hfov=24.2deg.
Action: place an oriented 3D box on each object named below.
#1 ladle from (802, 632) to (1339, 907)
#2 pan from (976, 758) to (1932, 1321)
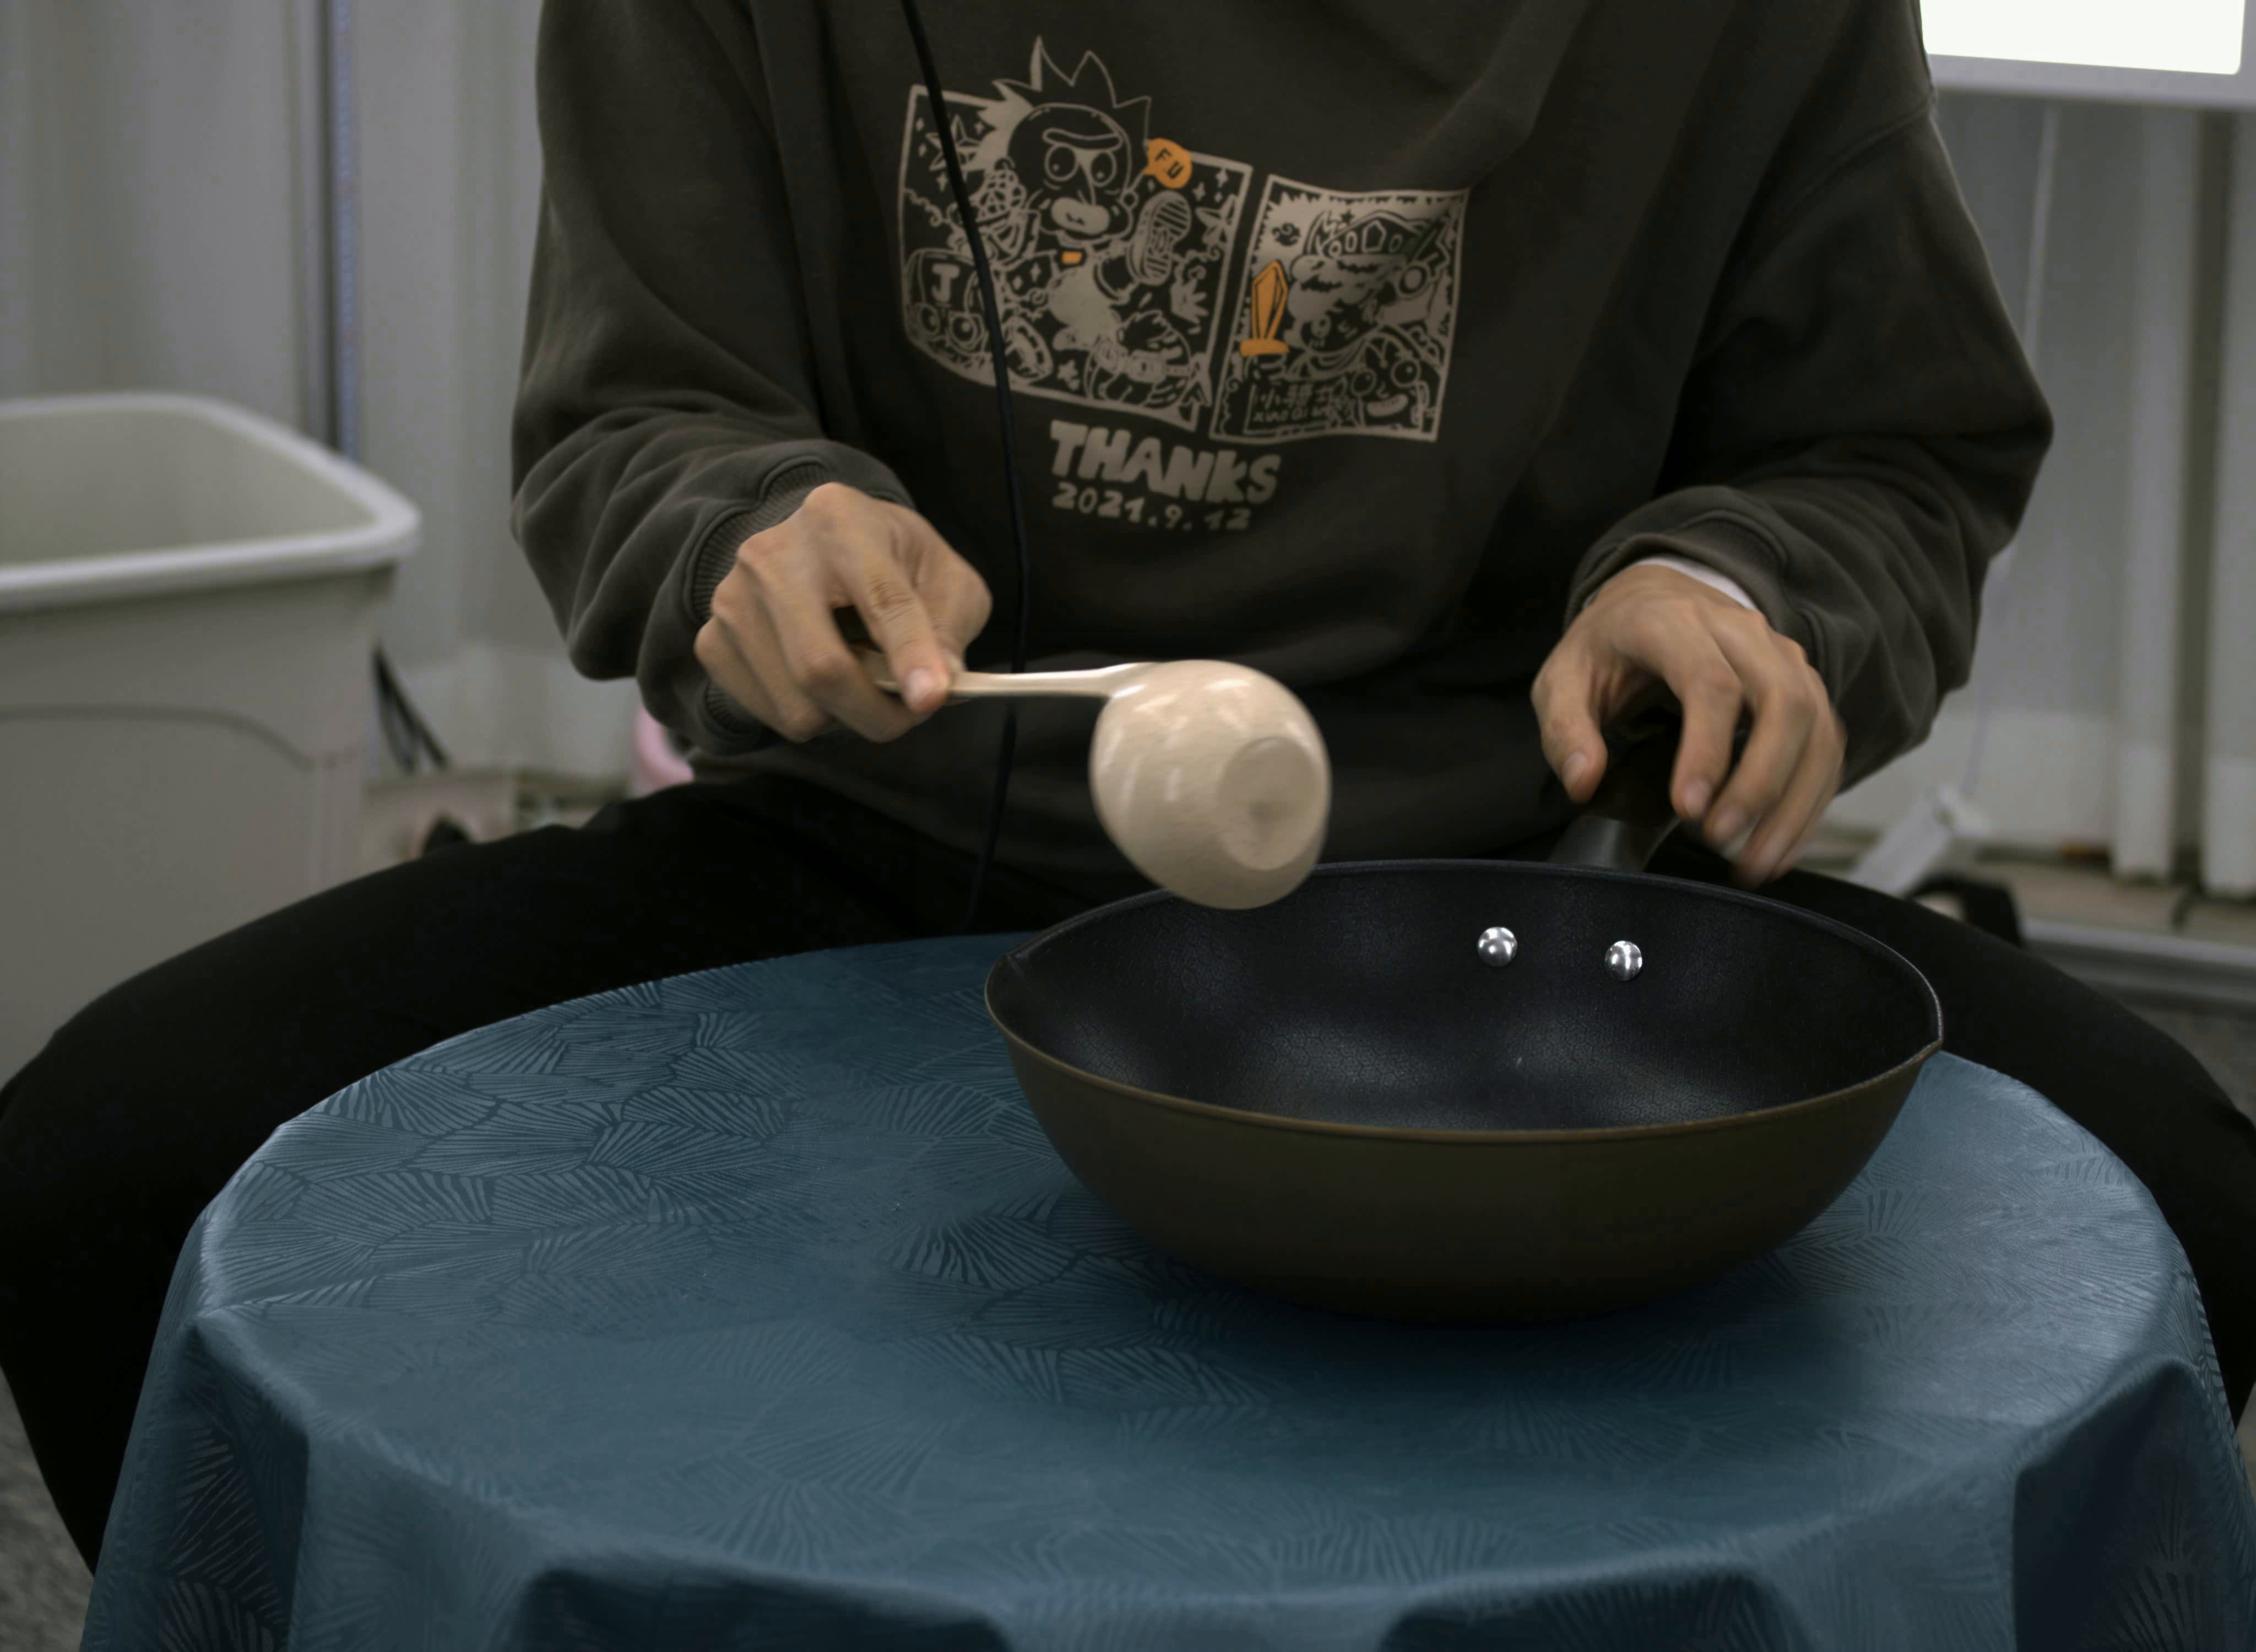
[{"bbox_3d":[-0.025,-0.020,1.622,0.072,0.073,0.251,-30,19,-27],"label":"ladle"},{"bbox_3d":[0.124,0.063,1.659,0.285,0.087,0.463,5,15,17],"label":"pan"}]
